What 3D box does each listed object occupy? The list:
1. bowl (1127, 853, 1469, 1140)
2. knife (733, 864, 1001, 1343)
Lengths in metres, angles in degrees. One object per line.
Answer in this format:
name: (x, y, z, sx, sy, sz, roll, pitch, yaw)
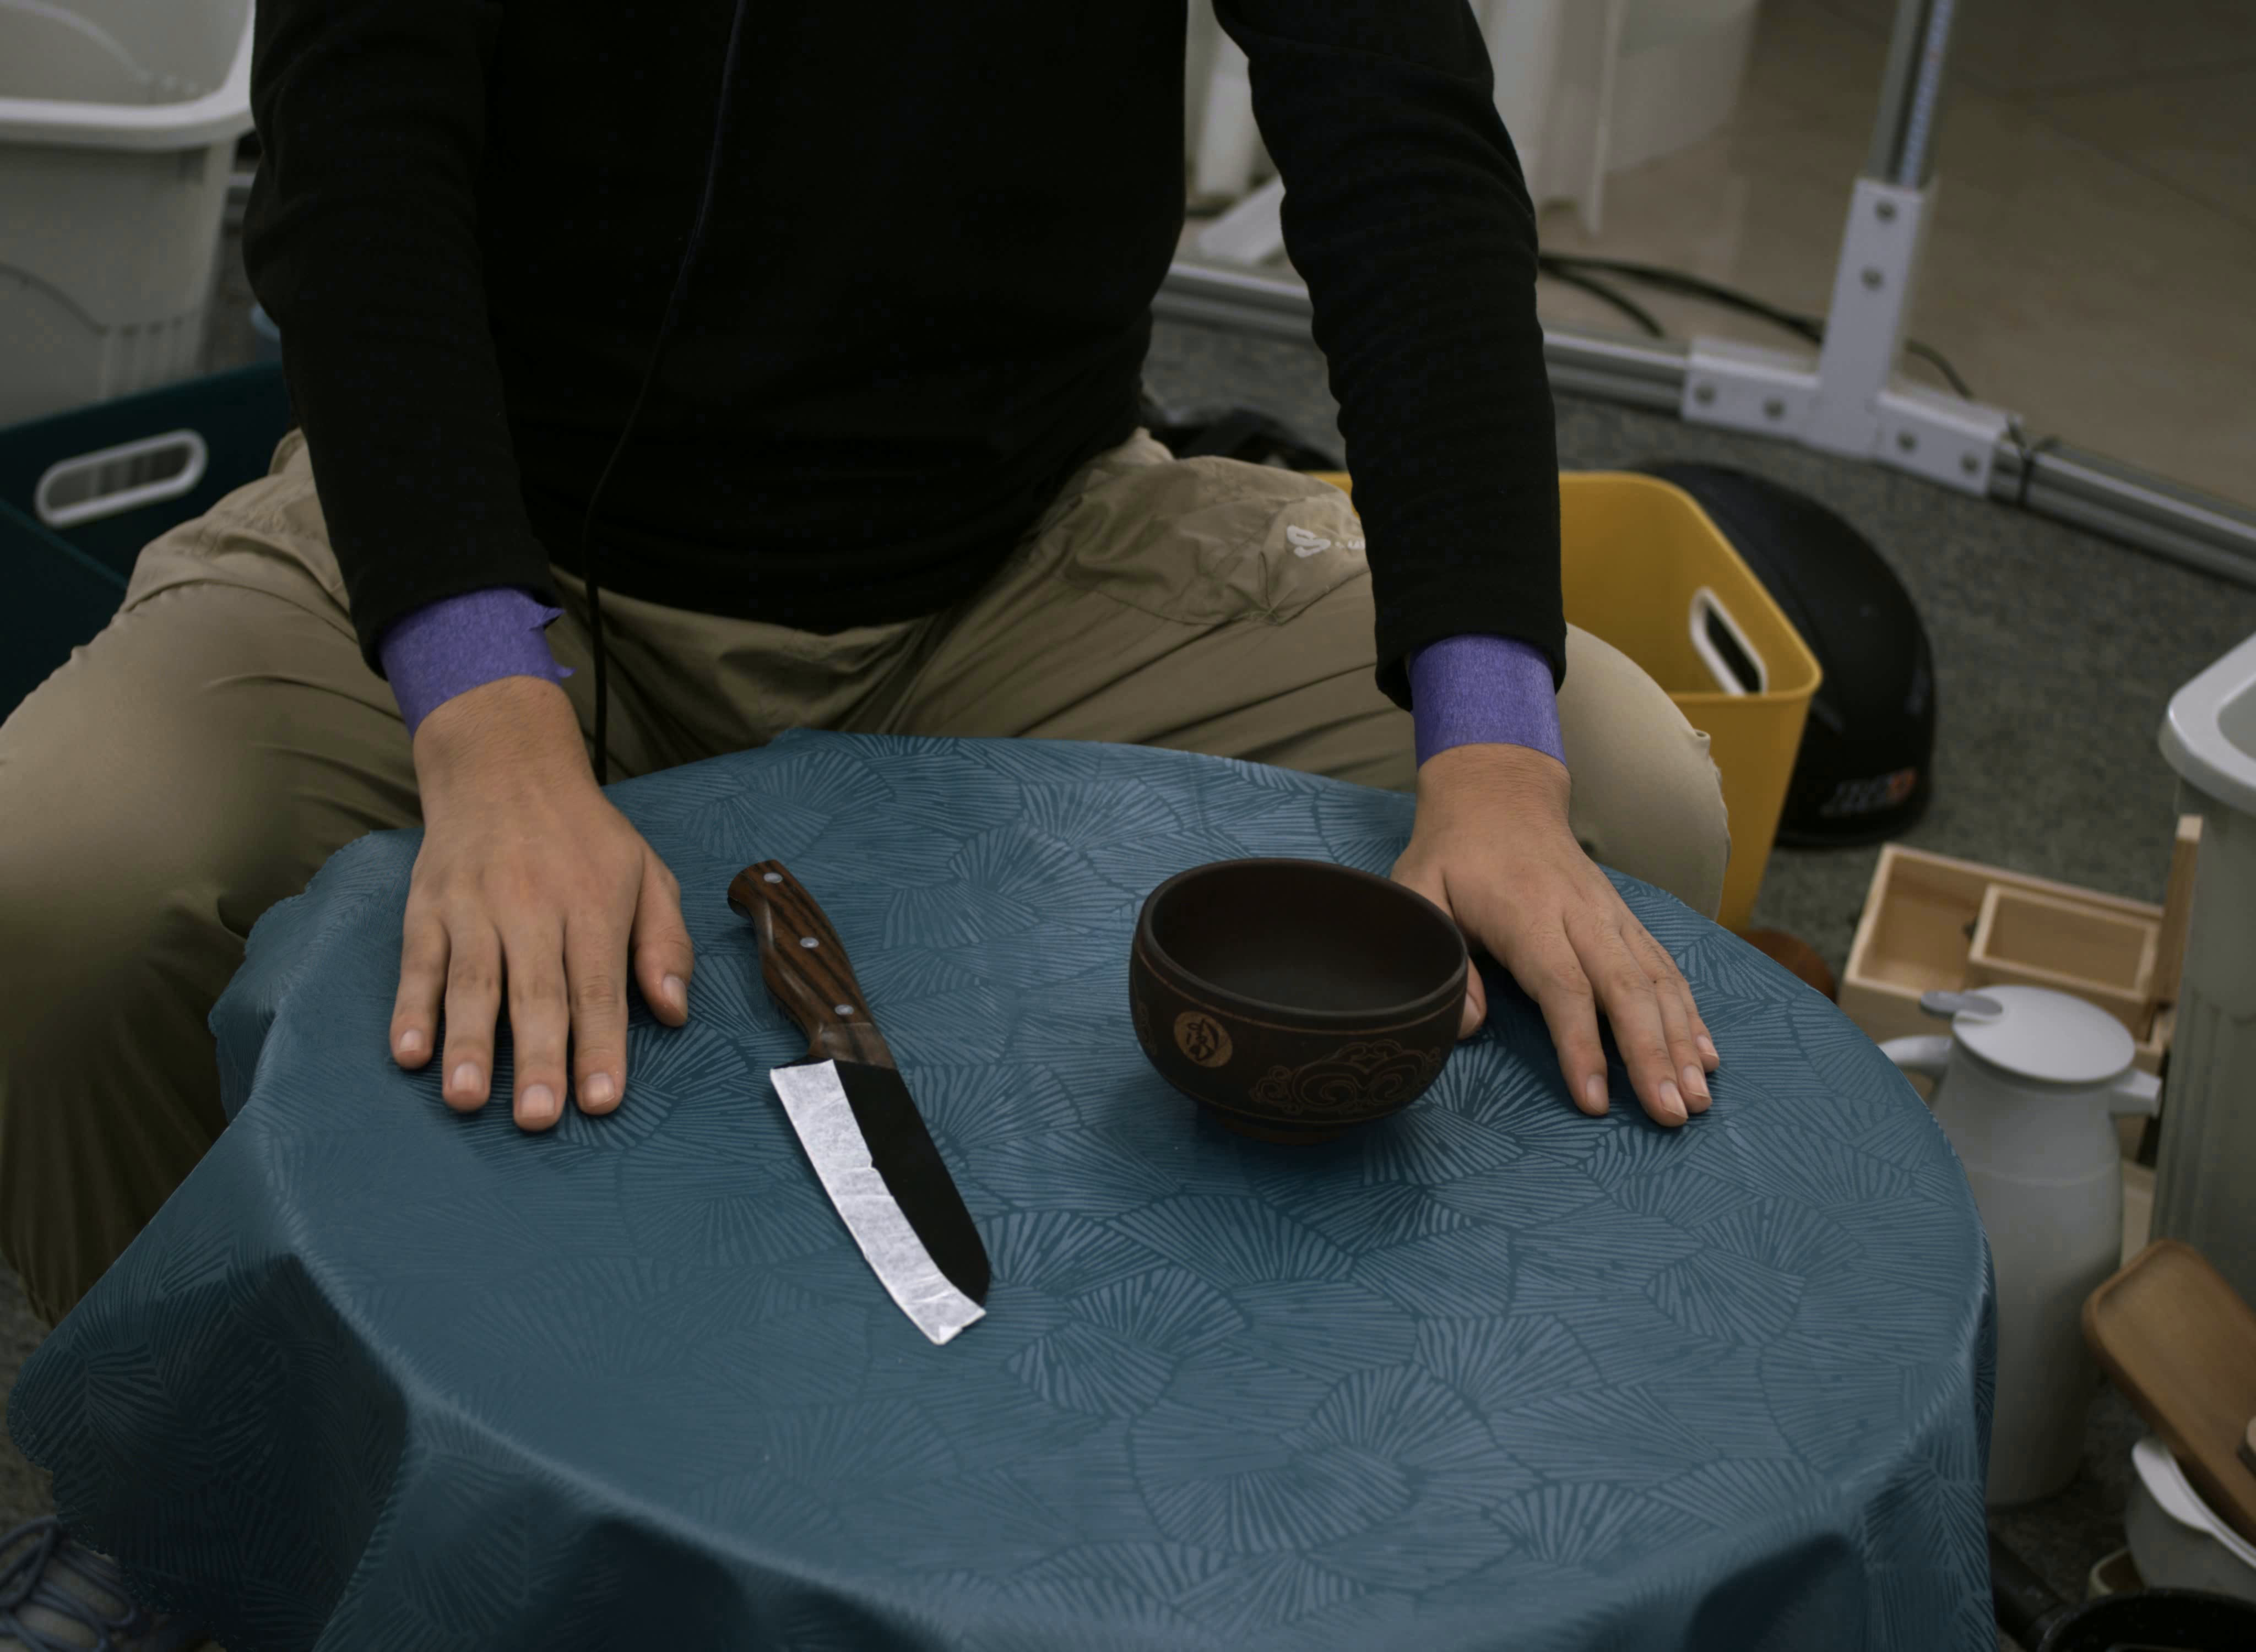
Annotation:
bowl: (0.057, 0.066, 1.852, 0.117, 0.069, 0.119, 5, 26, -3)
knife: (-0.094, 0.093, 1.828, 0.050, 0.020, 0.292, -6, 32, -14)
